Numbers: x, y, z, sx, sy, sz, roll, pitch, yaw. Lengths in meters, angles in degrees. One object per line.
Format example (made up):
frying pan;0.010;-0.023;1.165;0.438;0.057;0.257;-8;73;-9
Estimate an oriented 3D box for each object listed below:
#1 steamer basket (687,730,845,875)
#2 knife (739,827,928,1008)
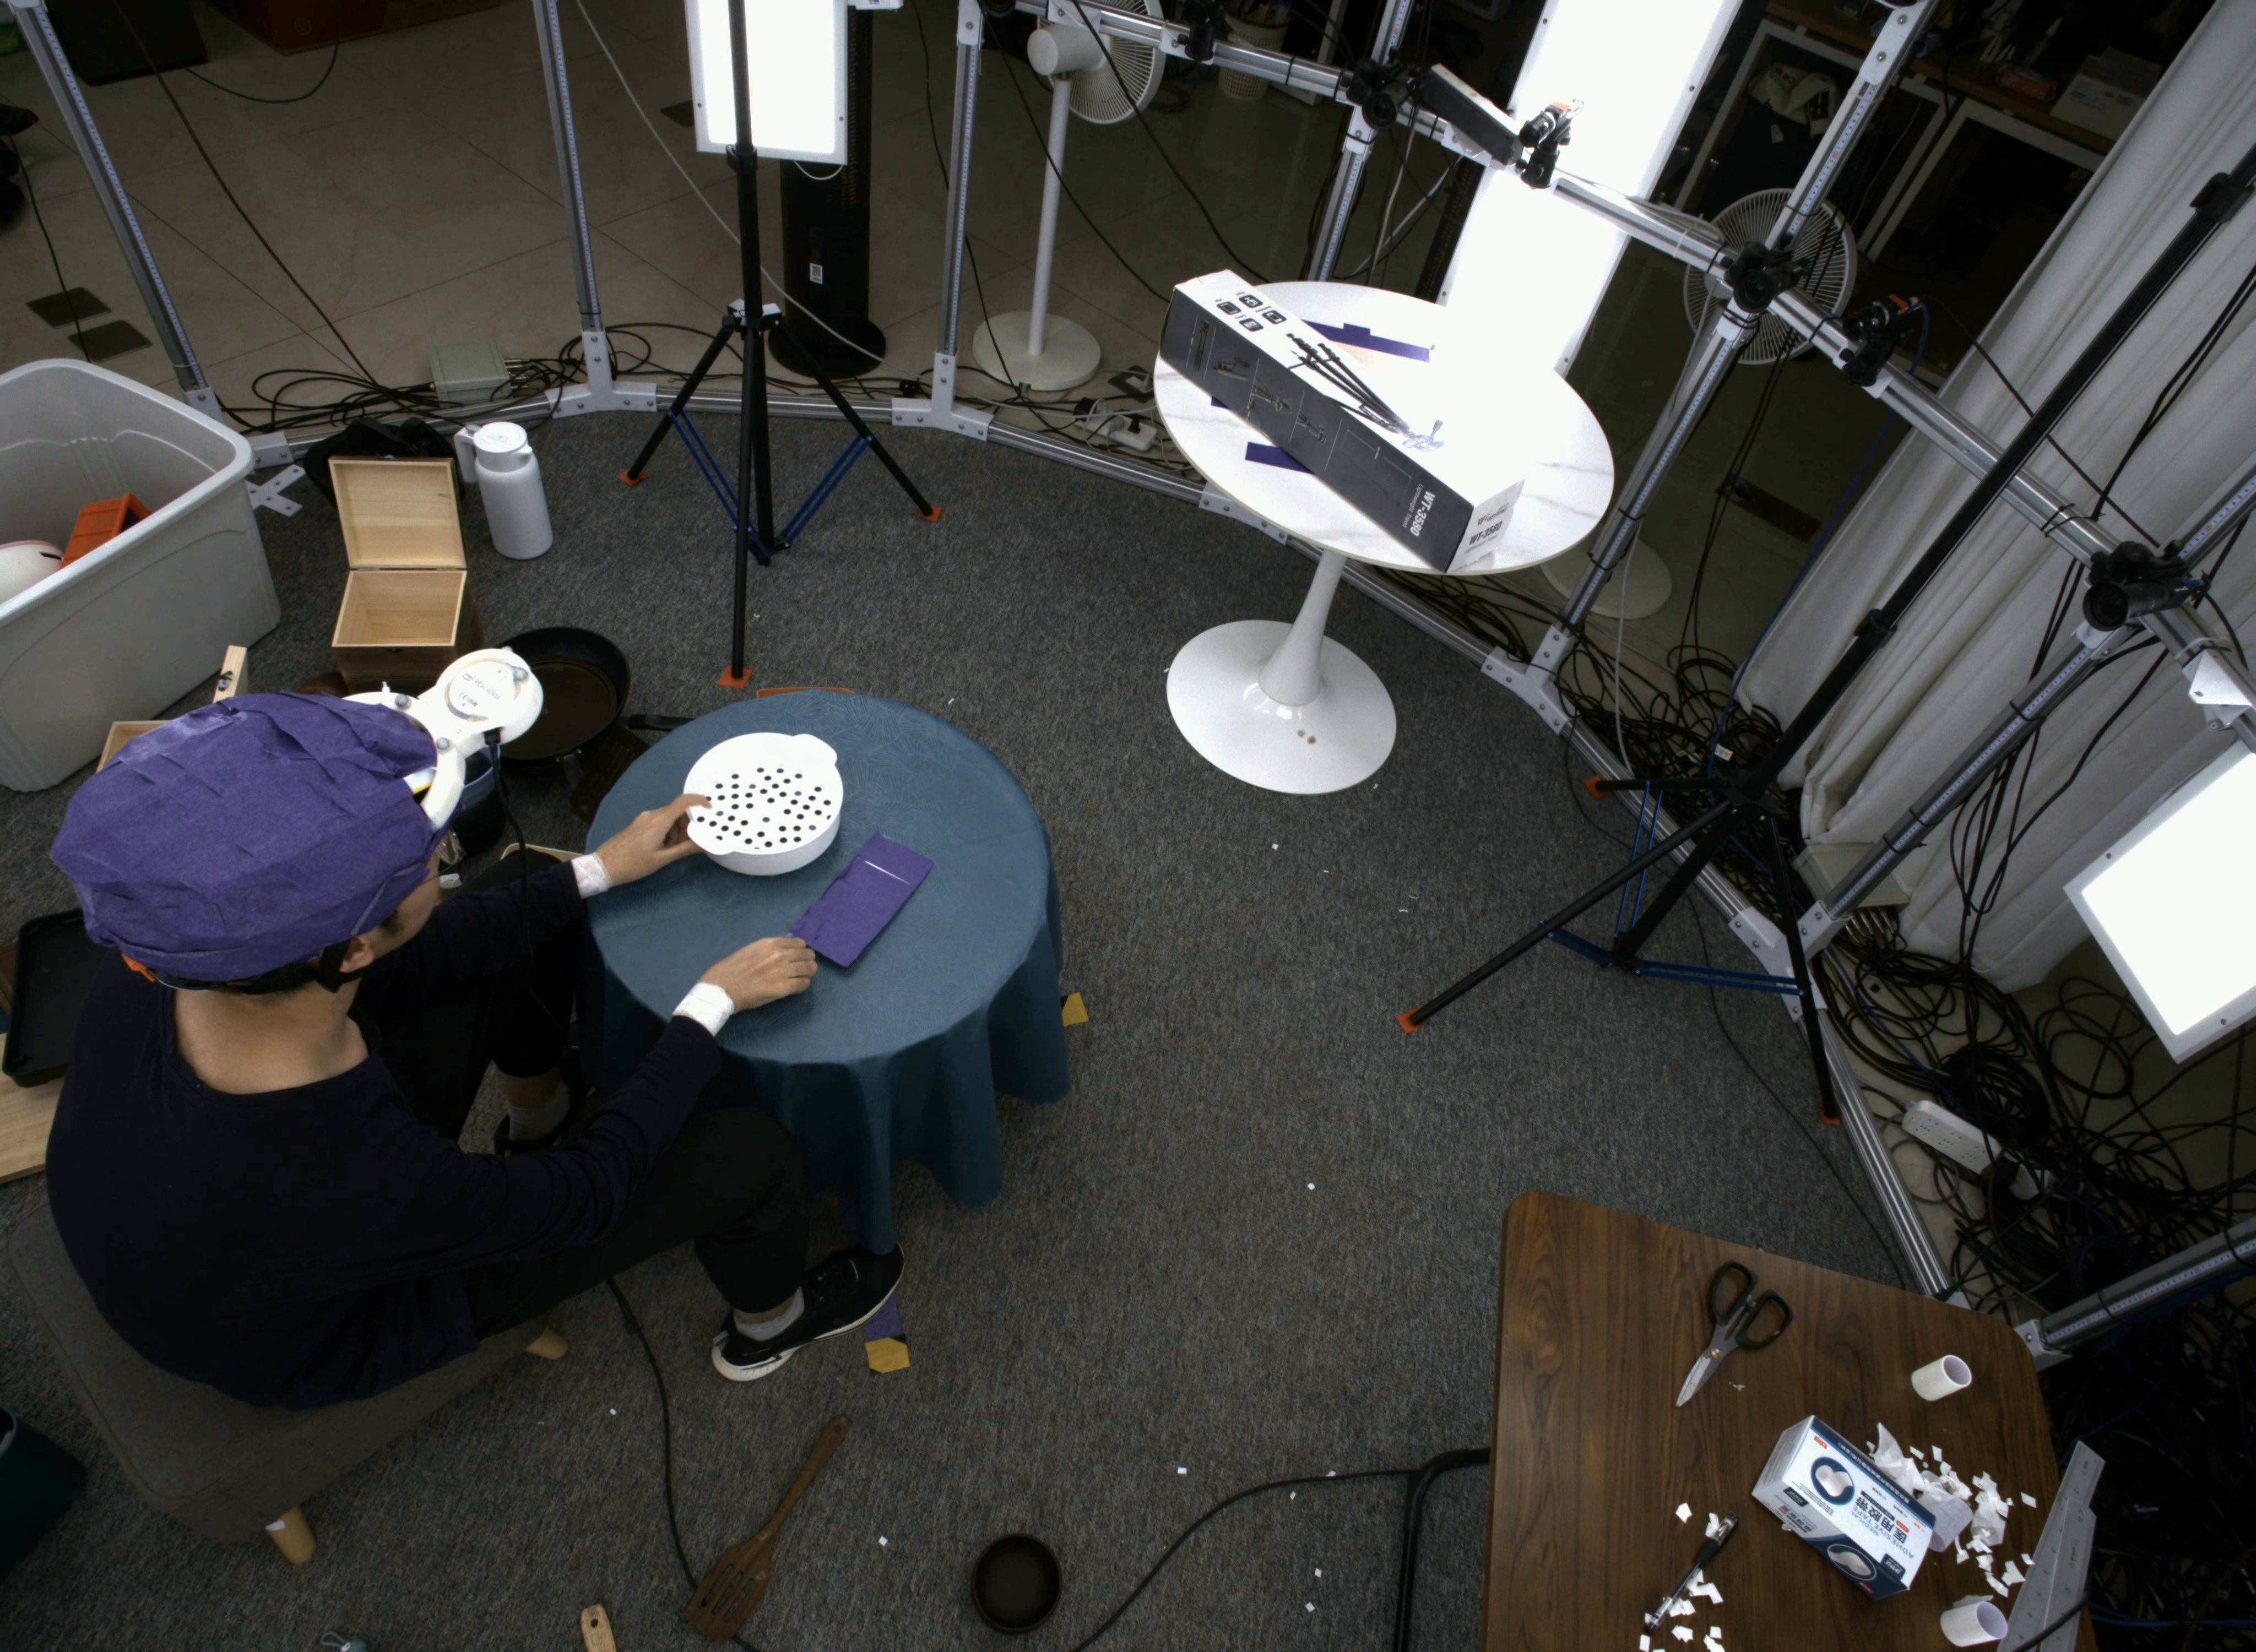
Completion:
steamer basket;-0.473;-0.030;1.703;0.198;0.071;0.230;32;56;12
knife;-0.362;0.118;1.641;0.102;0.033;0.313;28;50;7
